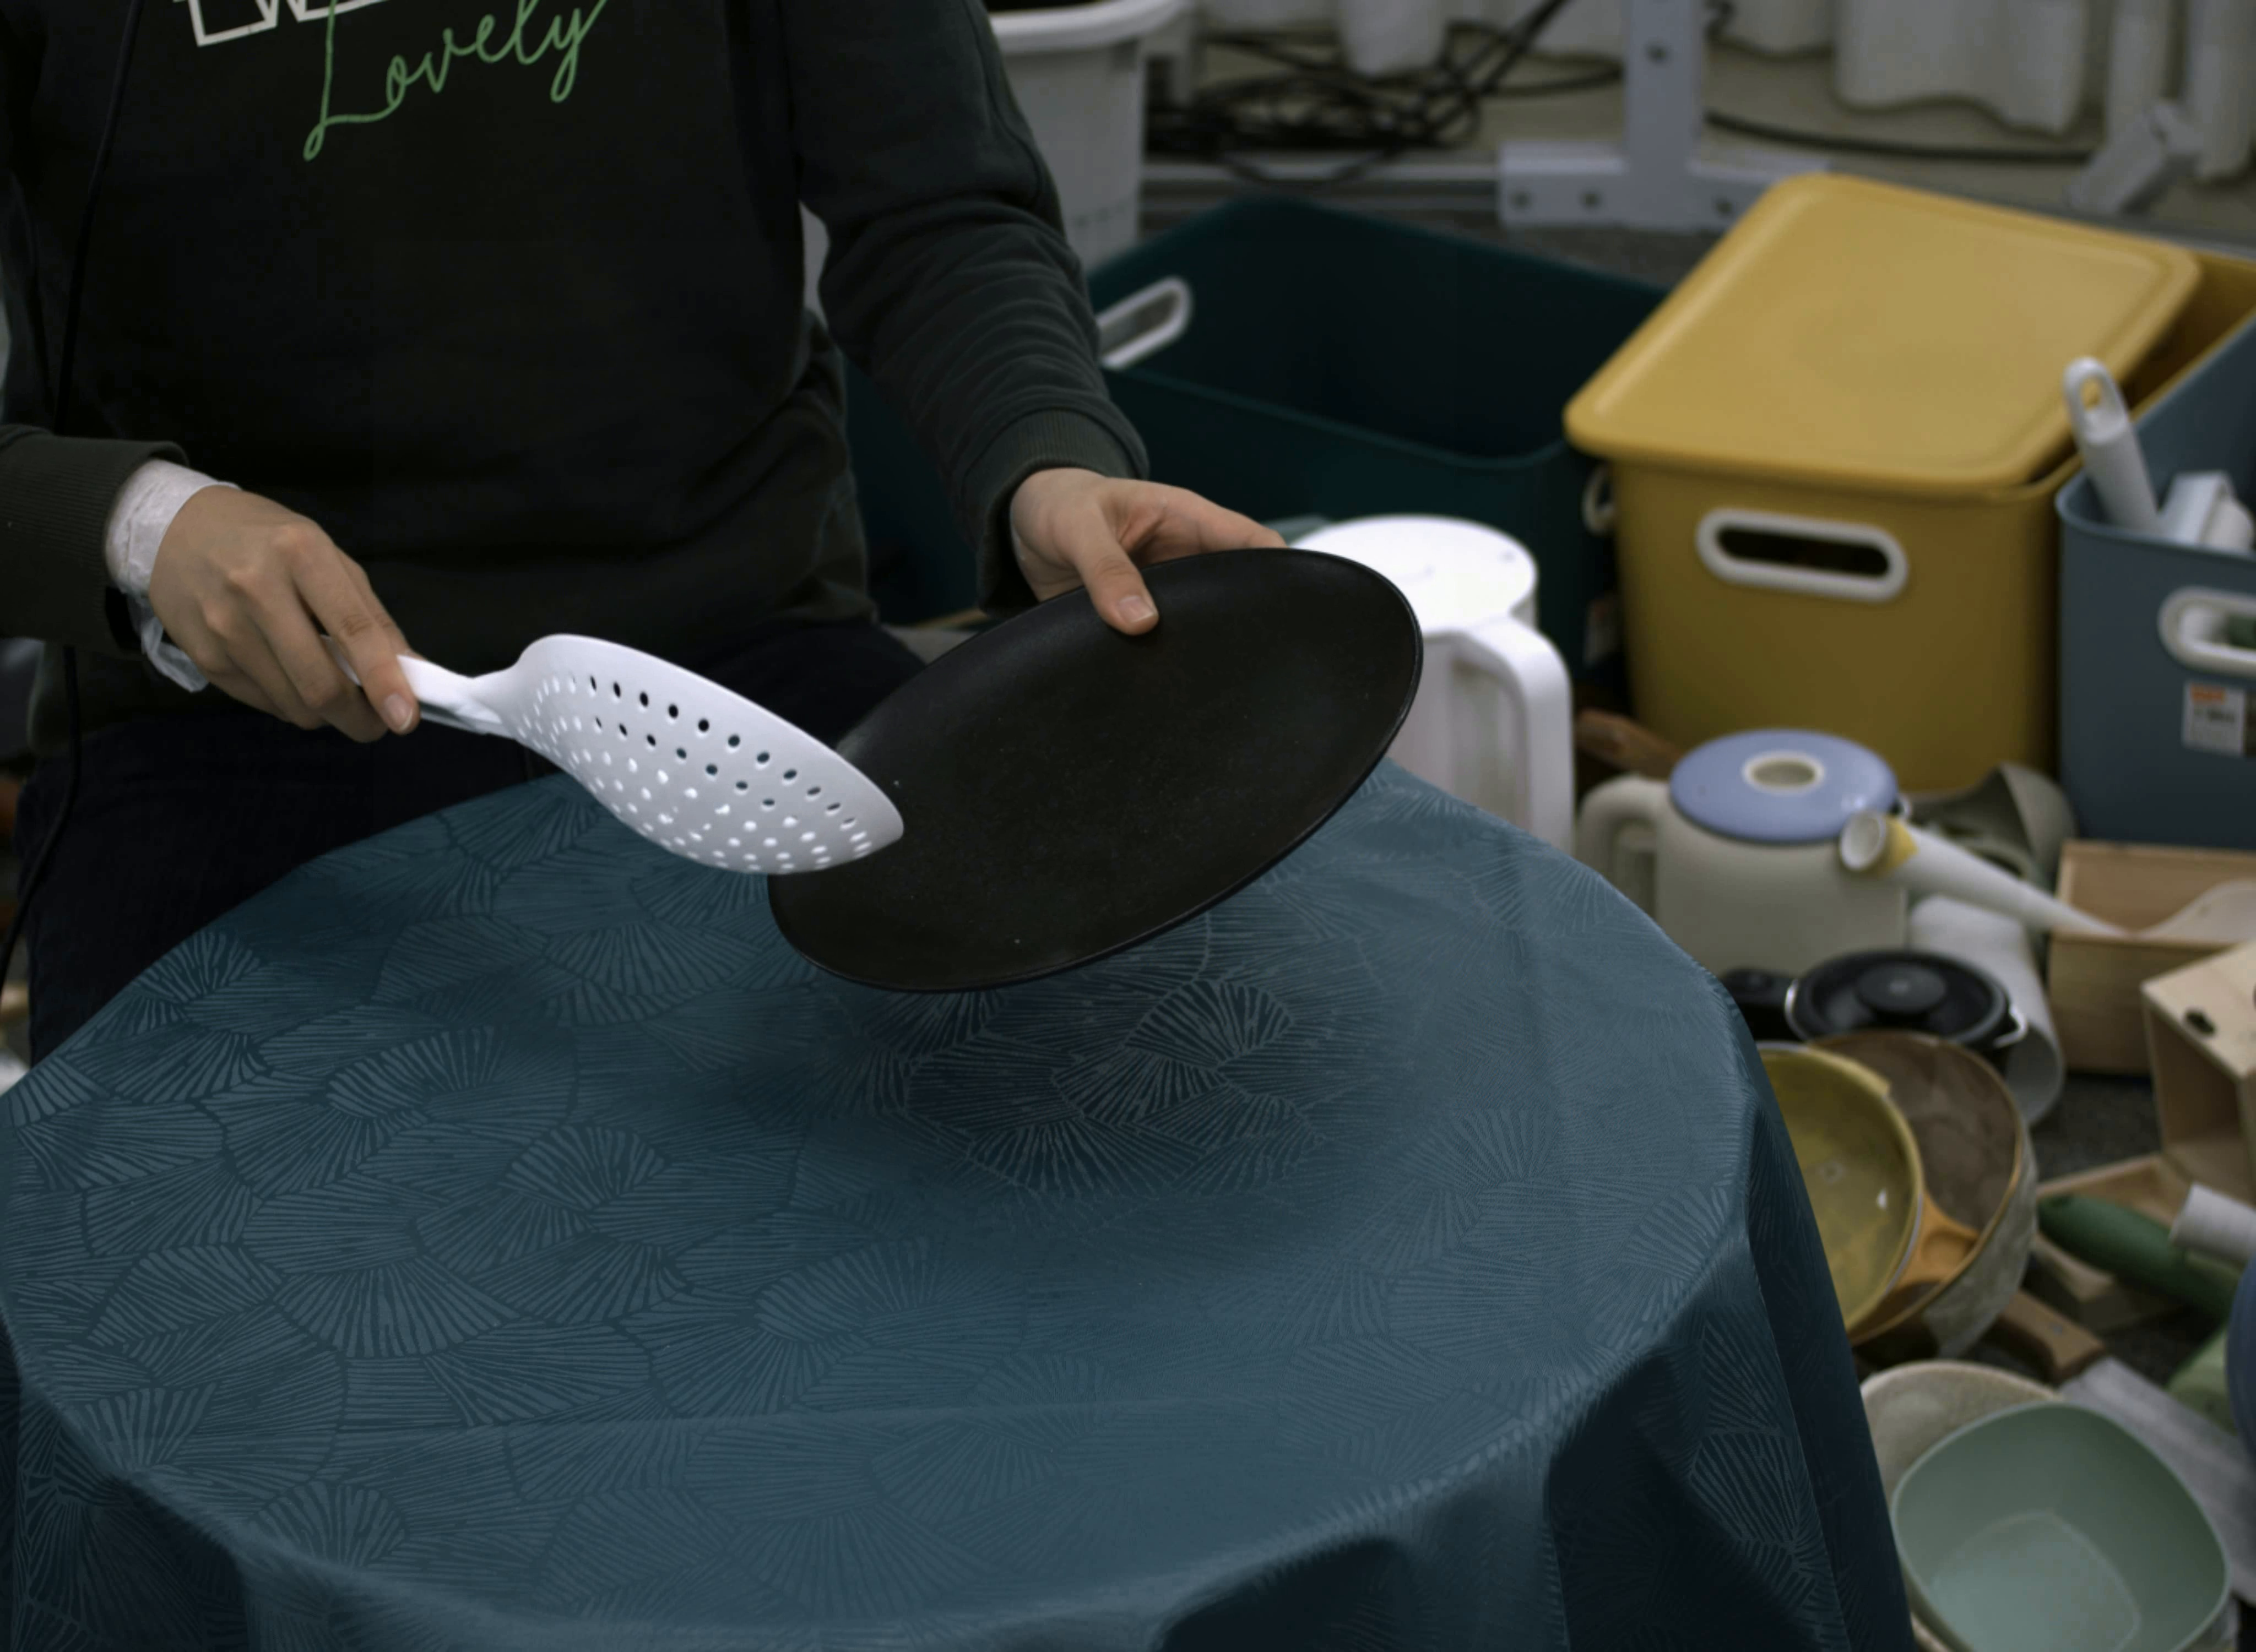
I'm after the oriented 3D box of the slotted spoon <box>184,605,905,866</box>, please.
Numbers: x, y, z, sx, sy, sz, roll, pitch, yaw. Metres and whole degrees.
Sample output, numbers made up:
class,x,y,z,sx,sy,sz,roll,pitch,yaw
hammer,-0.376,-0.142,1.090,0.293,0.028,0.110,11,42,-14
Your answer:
class,x,y,z,sx,sy,sz,roll,pitch,yaw
slotted spoon,-0.214,-0.042,1.935,0.348,0.135,0.046,18,72,45

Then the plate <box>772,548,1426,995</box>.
class,x,y,z,sx,sy,sz,roll,pitch,yaw
plate,-0.008,-0.014,1.923,0.242,0.023,0.248,-19,30,12
